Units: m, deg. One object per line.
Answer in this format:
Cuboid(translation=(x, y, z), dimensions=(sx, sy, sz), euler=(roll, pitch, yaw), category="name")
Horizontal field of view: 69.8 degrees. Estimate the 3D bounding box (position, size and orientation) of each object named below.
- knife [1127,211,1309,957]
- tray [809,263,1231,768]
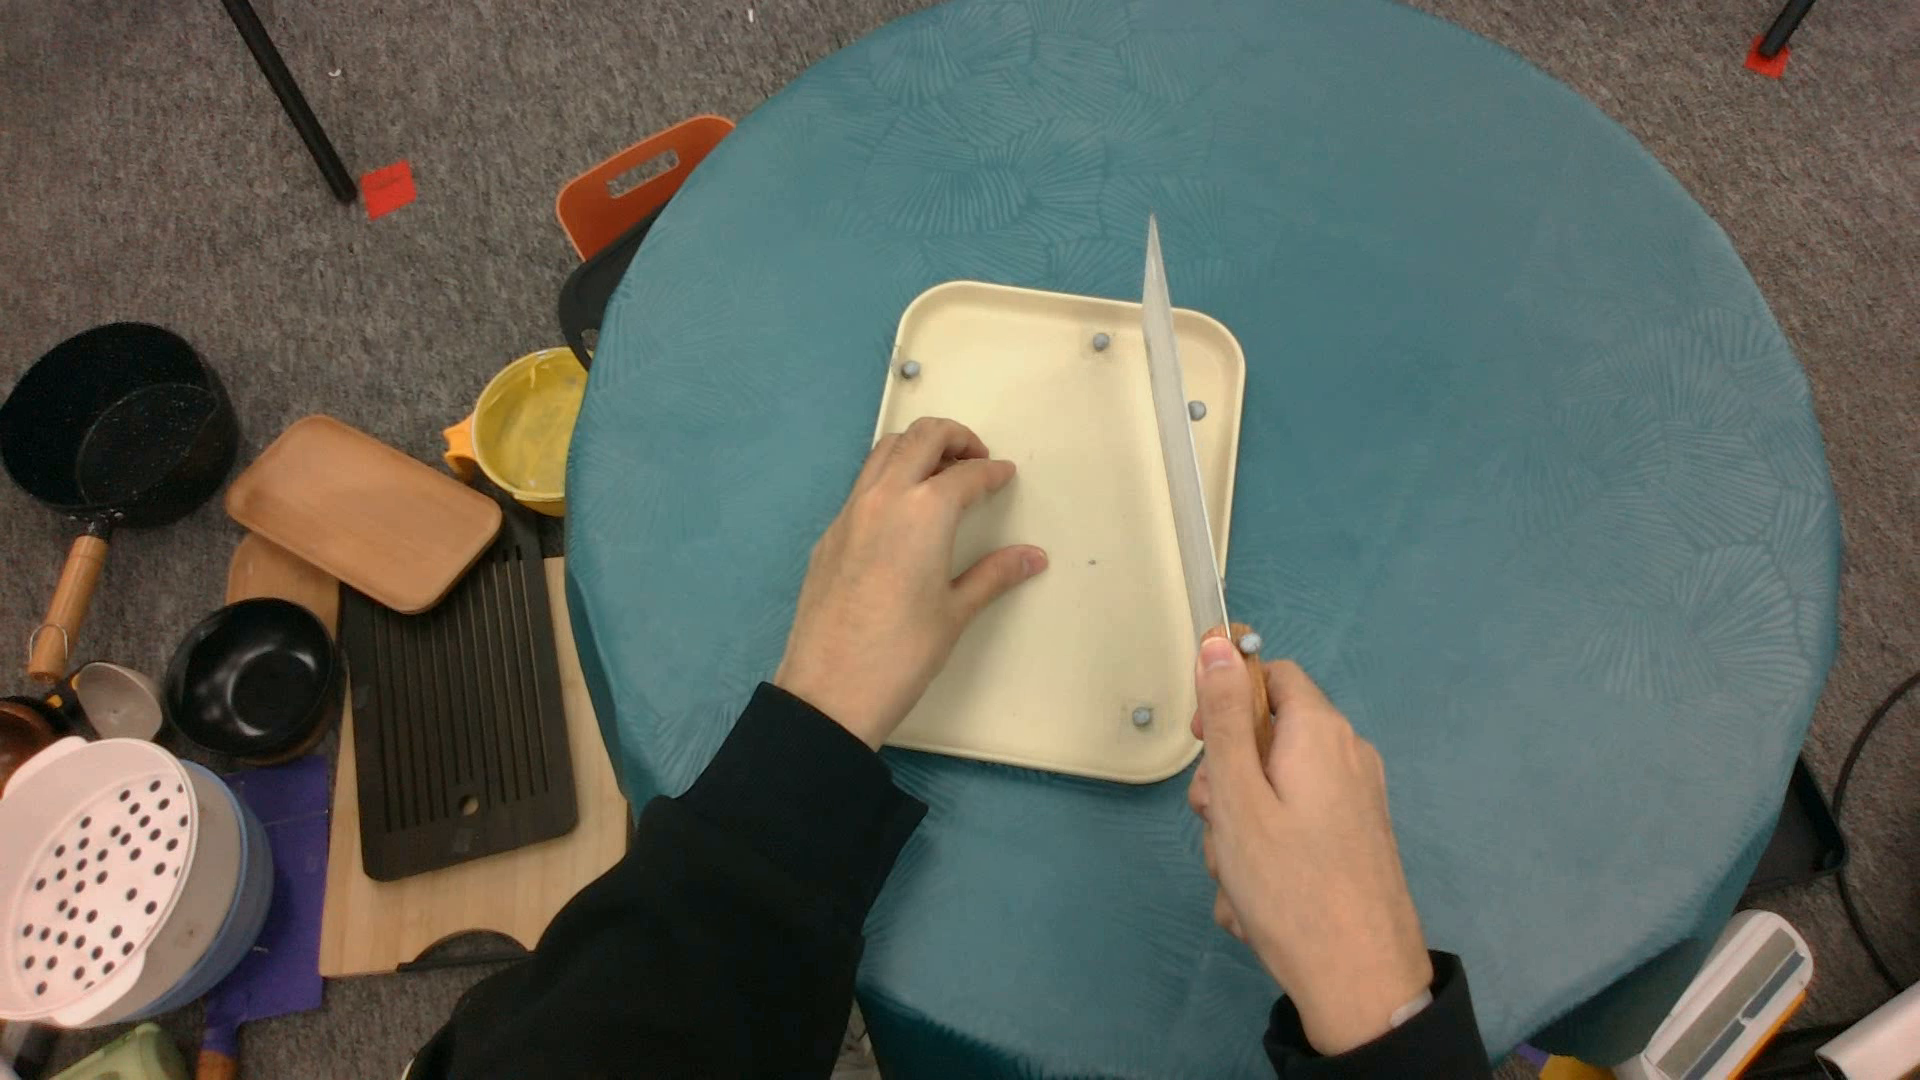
Cuboid(translation=(0.095, 0.013, 0.557), dimensions=(0.021, 0.092, 0.306), euler=(-8, 67, 2), category="knife")
Cuboid(translation=(0.032, -0.018, 0.635), dimensions=(0.171, 0.017, 0.240), euler=(10, 66, 3), category="tray")
